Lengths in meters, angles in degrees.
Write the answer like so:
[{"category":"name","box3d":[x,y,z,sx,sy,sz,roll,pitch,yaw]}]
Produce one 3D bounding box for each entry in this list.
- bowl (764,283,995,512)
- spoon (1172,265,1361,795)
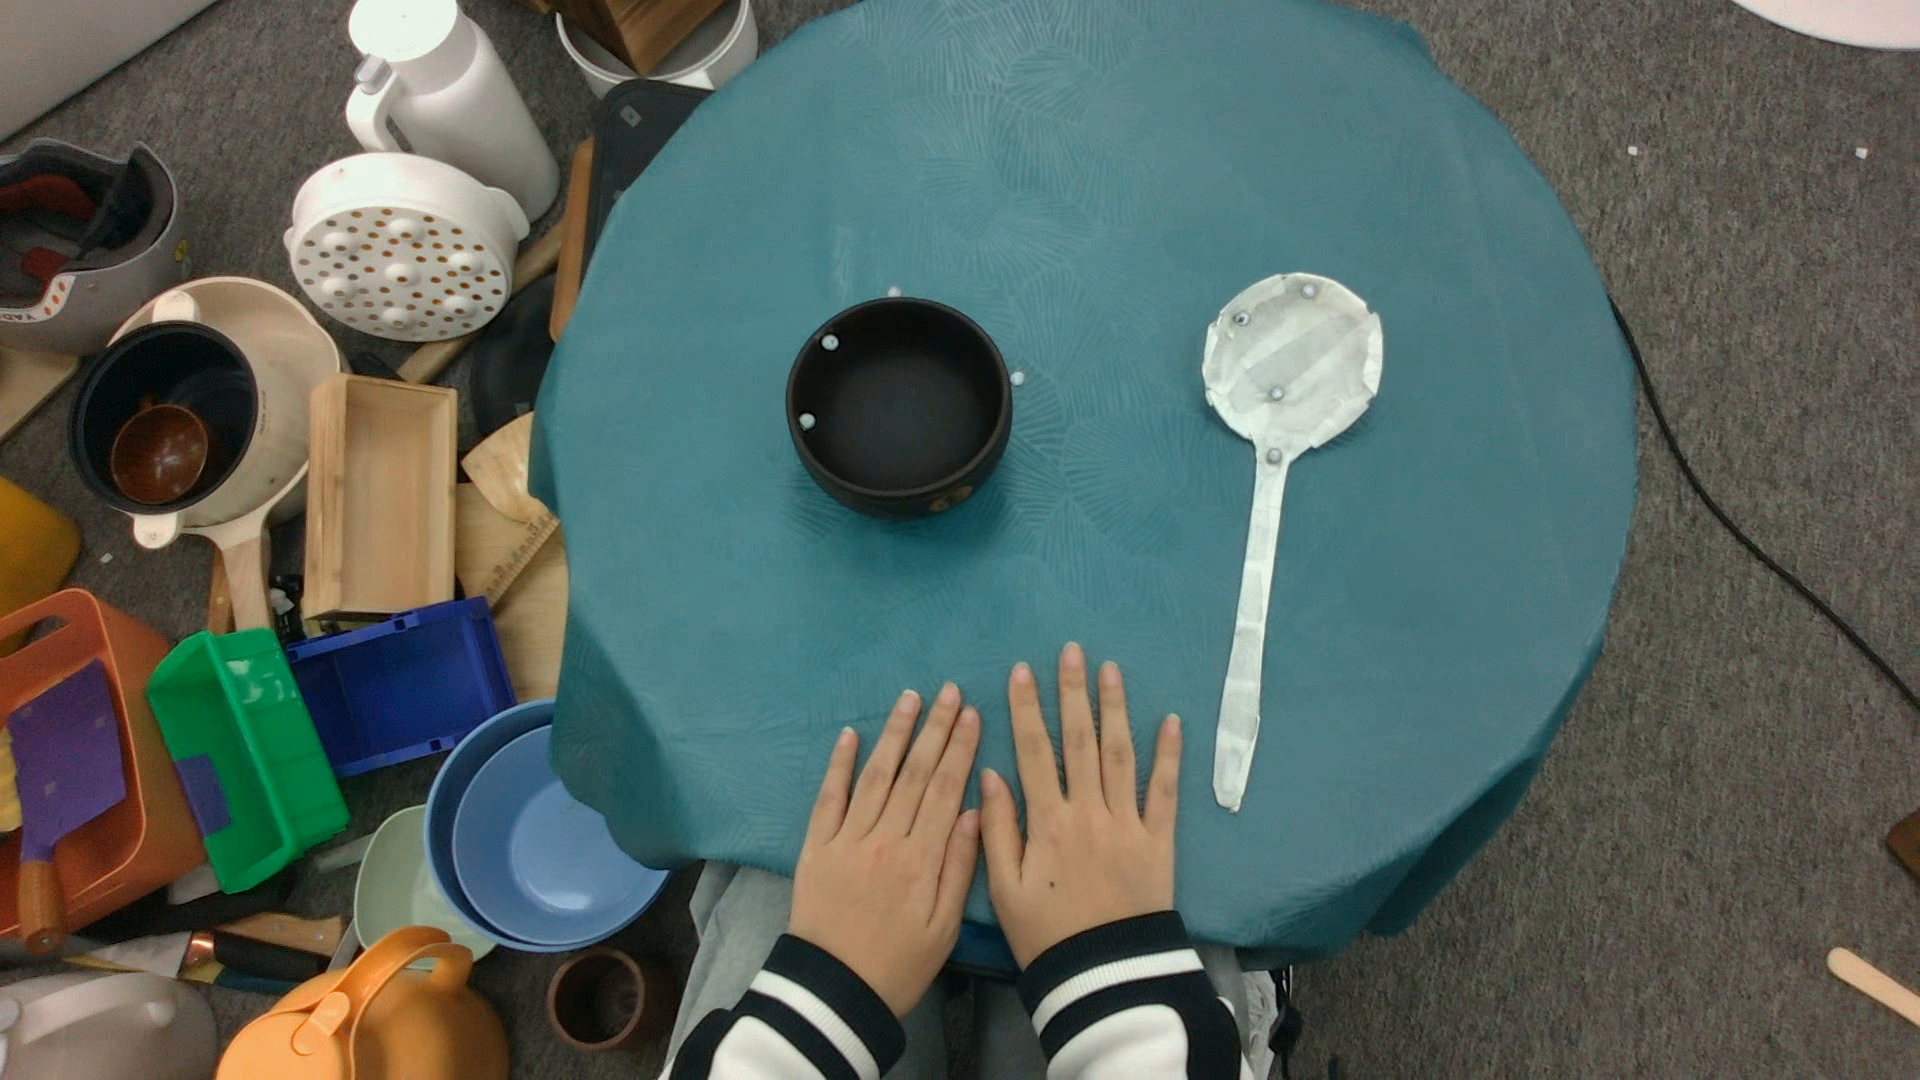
[{"category":"bowl","box3d":[-0.041,-0.069,0.726,0.118,0.069,0.118,0,71,1]},{"category":"spoon","box3d":[0.141,-0.010,0.709,0.100,0.059,0.278,11,71,9]}]
